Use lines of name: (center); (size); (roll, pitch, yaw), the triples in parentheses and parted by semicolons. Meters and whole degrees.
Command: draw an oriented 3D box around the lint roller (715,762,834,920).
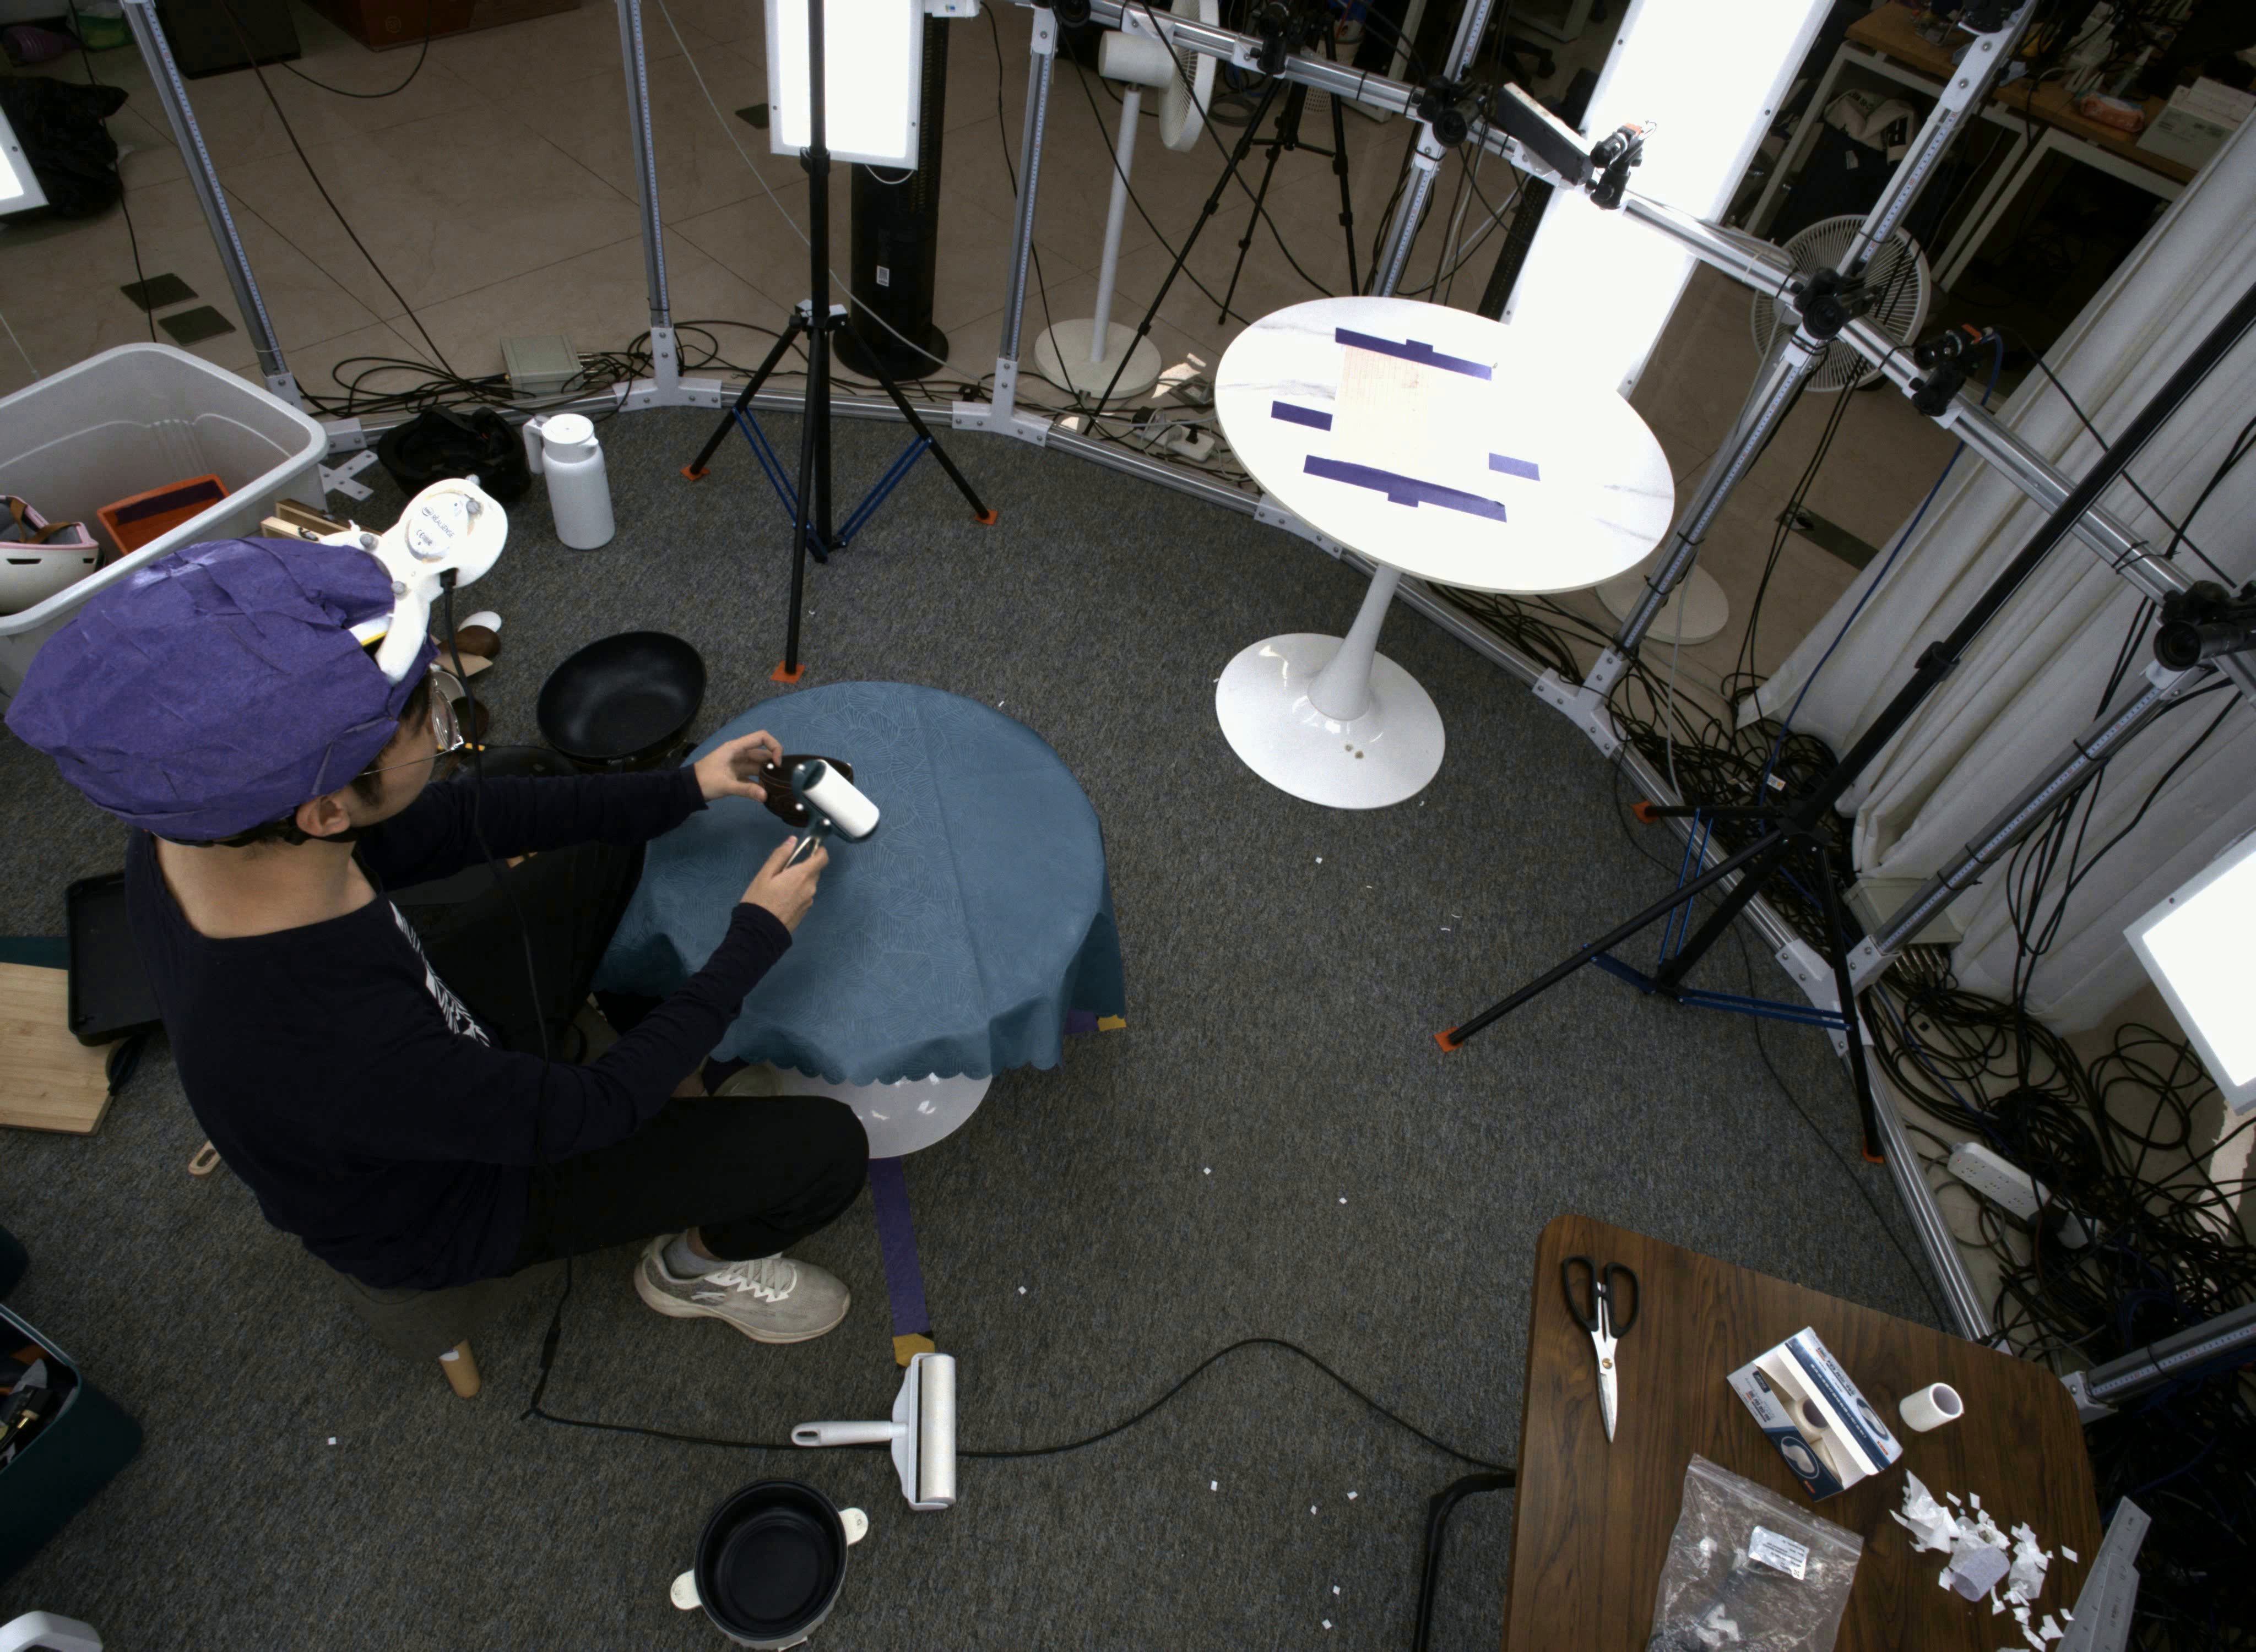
lint roller: (-0.431, 0.031, 1.534); (0.046, 0.139, 0.179); (7, 64, 37)

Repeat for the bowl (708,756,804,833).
bowl: (-0.467, -0.035, 1.625); (0.117, 0.072, 0.116); (6, 25, -1)
